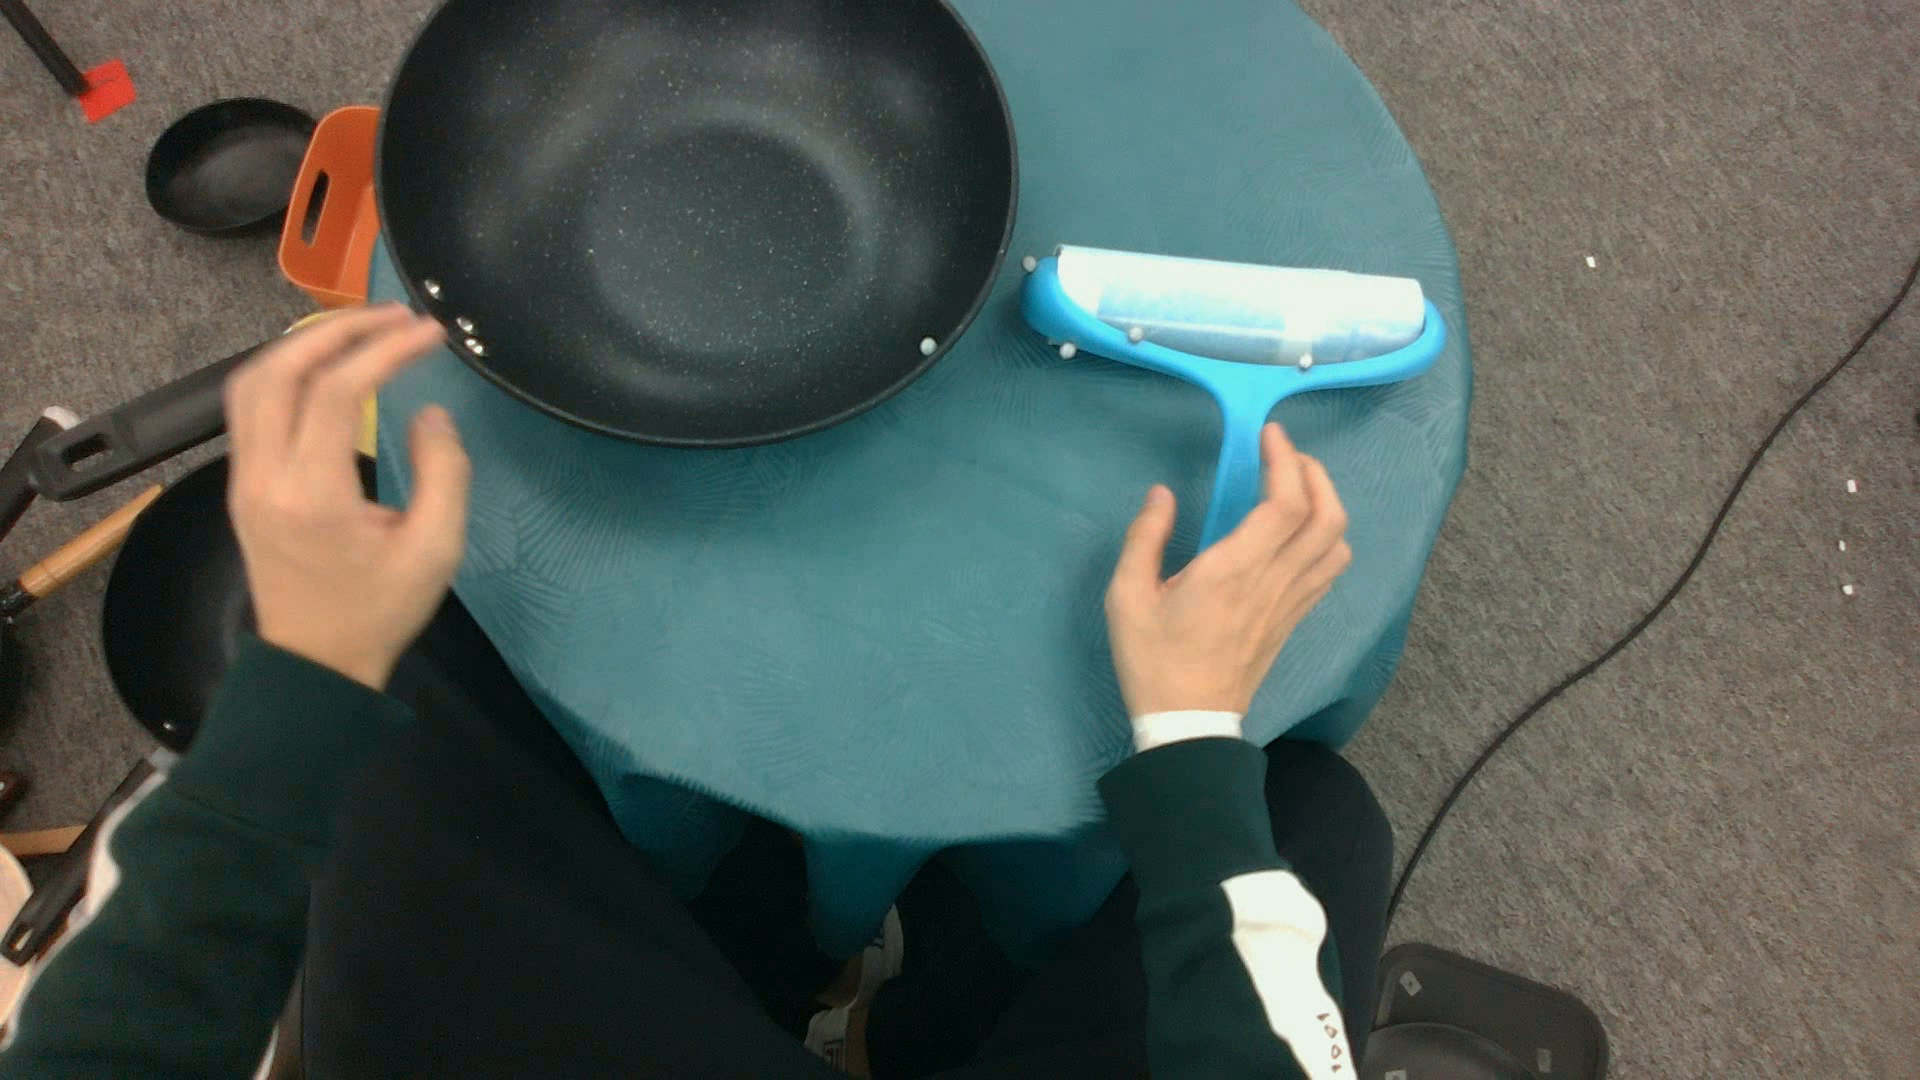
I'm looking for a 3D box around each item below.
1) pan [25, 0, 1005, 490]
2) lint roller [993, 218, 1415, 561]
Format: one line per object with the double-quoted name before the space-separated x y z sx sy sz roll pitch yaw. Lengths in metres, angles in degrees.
"pan" -0.199 -0.145 0.678 0.478 0.111 0.310 -36 78 -16
"lint roller" 0.133 -0.084 0.723 0.229 0.067 0.181 1 72 -8
